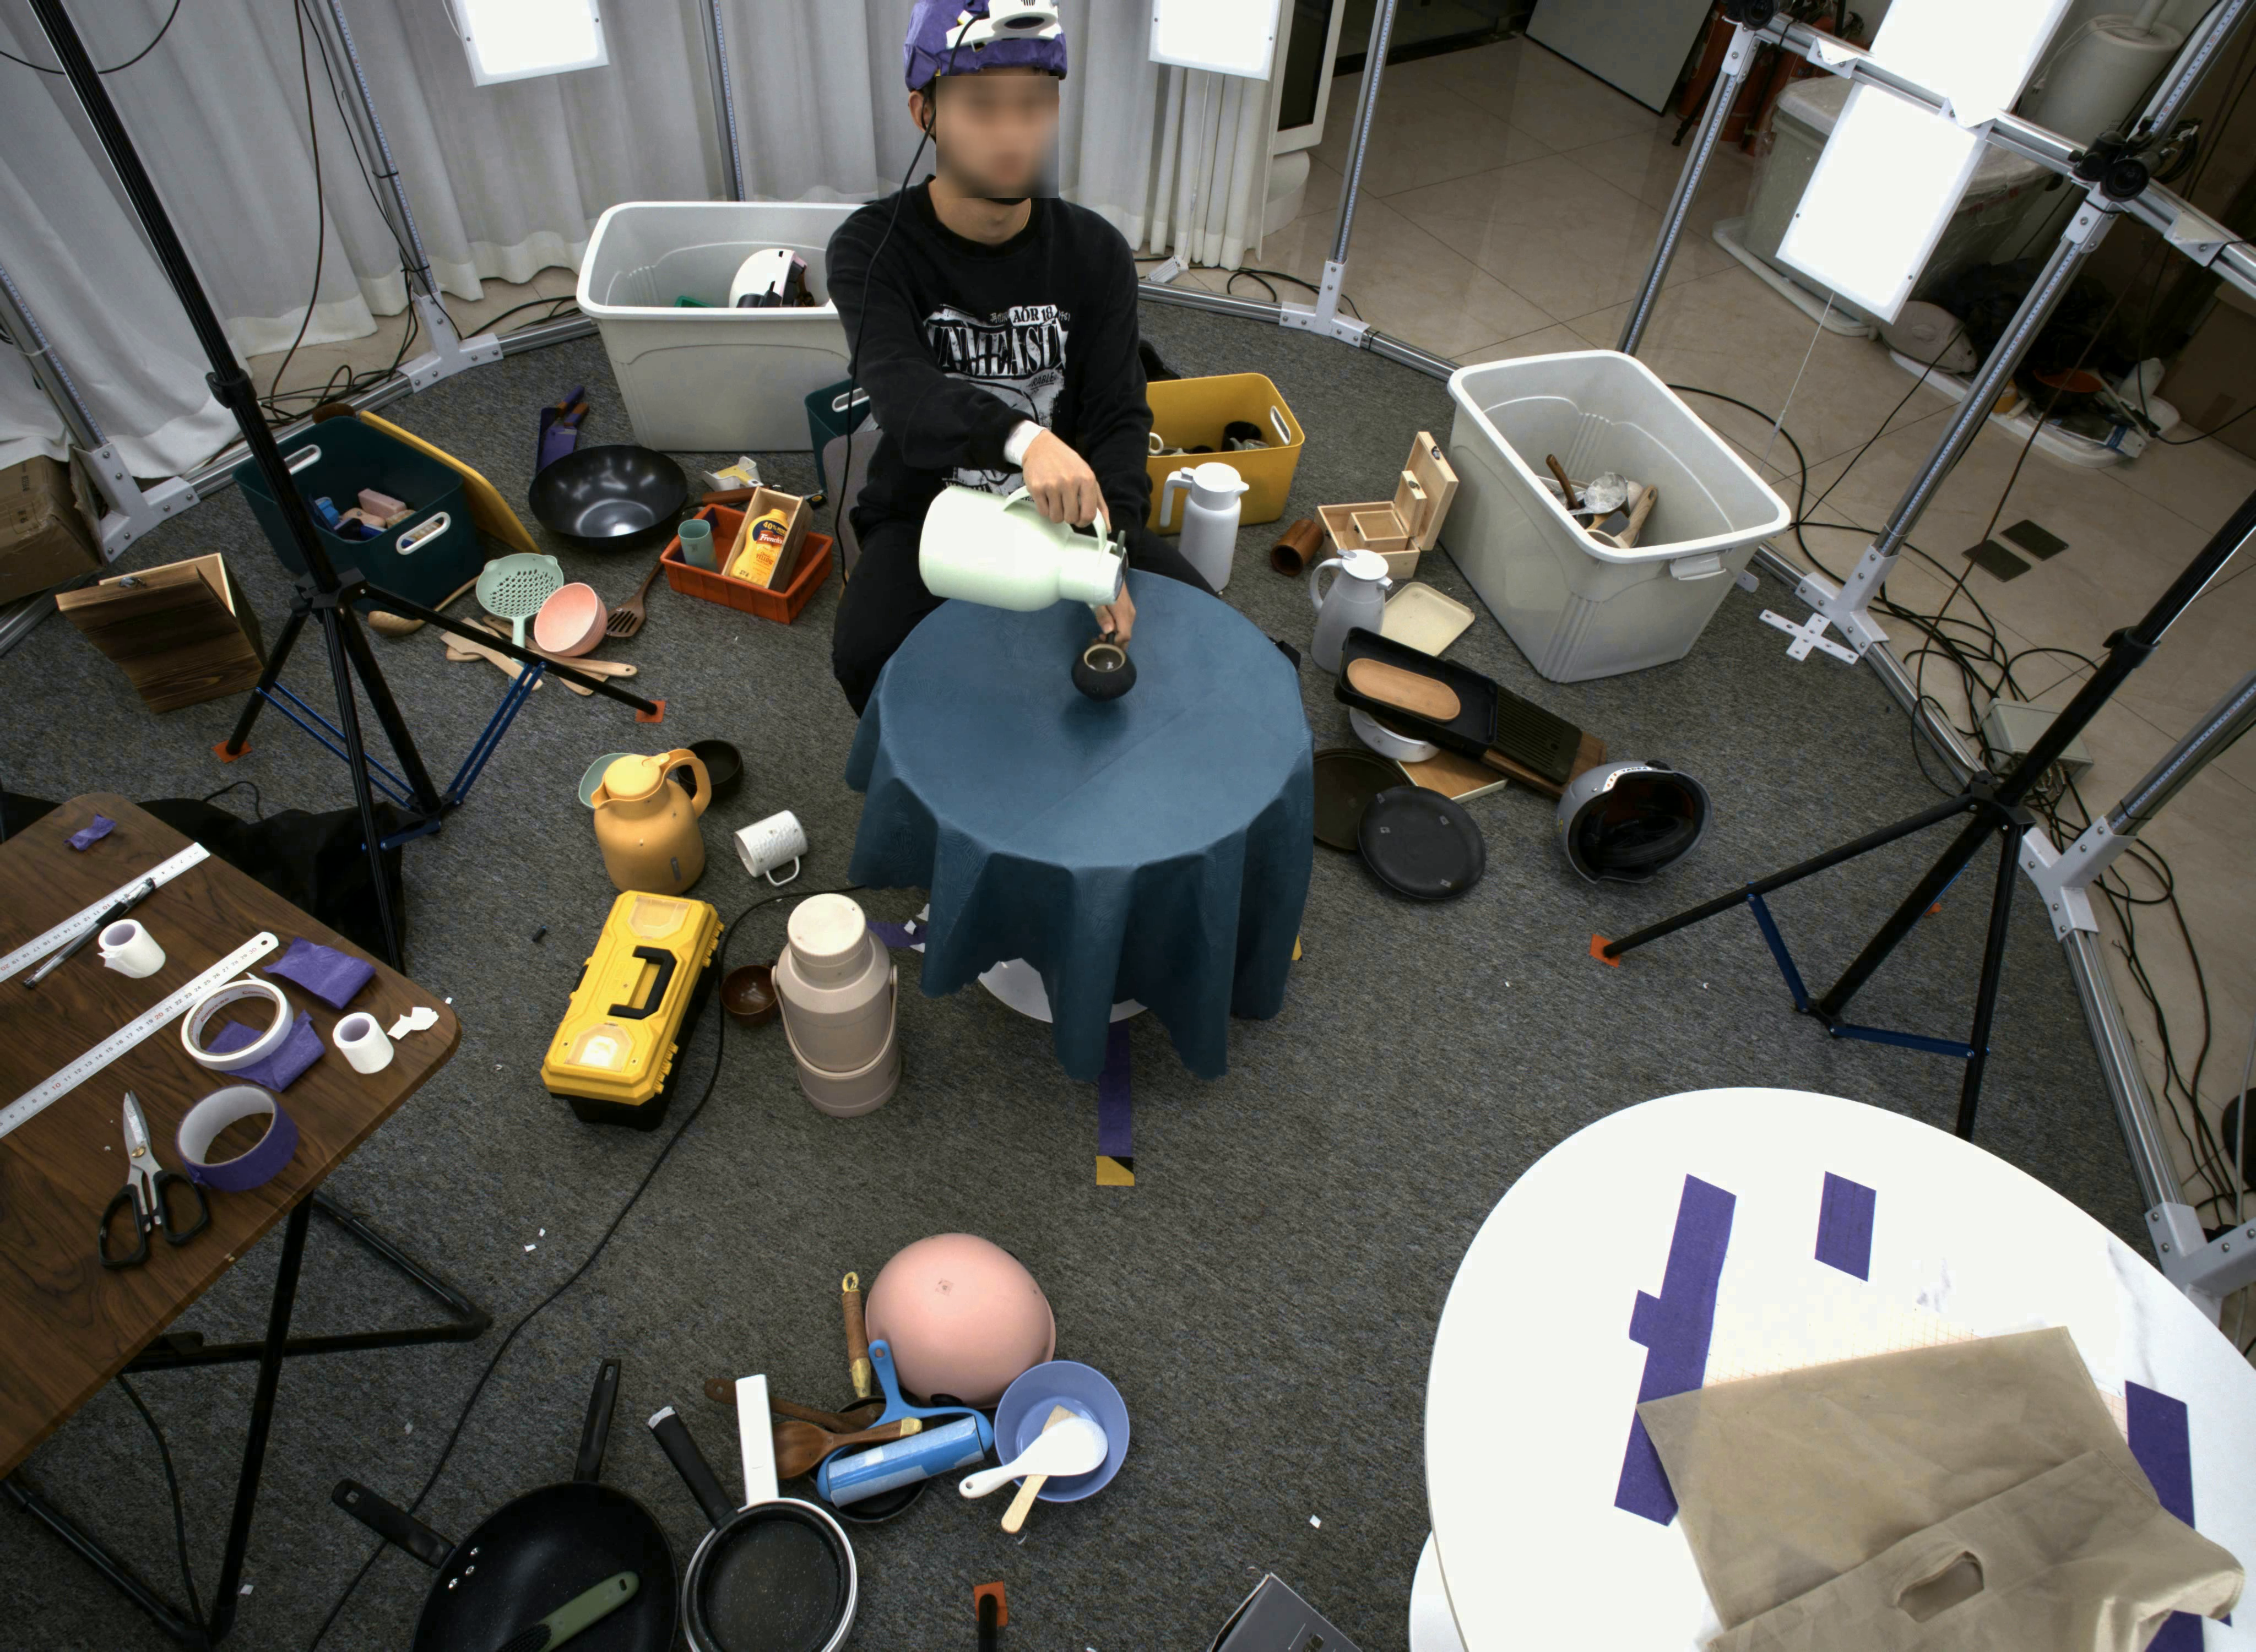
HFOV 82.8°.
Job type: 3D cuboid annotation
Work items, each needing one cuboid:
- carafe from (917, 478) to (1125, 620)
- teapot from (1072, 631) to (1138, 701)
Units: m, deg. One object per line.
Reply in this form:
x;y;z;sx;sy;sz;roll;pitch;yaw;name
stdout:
-0.132;-0.360;1.656;0.257;0.182;0.147;11;42;11;carafe
-0.032;-0.216;1.780;0.091;0.052;0.136;10;49;5;teapot
